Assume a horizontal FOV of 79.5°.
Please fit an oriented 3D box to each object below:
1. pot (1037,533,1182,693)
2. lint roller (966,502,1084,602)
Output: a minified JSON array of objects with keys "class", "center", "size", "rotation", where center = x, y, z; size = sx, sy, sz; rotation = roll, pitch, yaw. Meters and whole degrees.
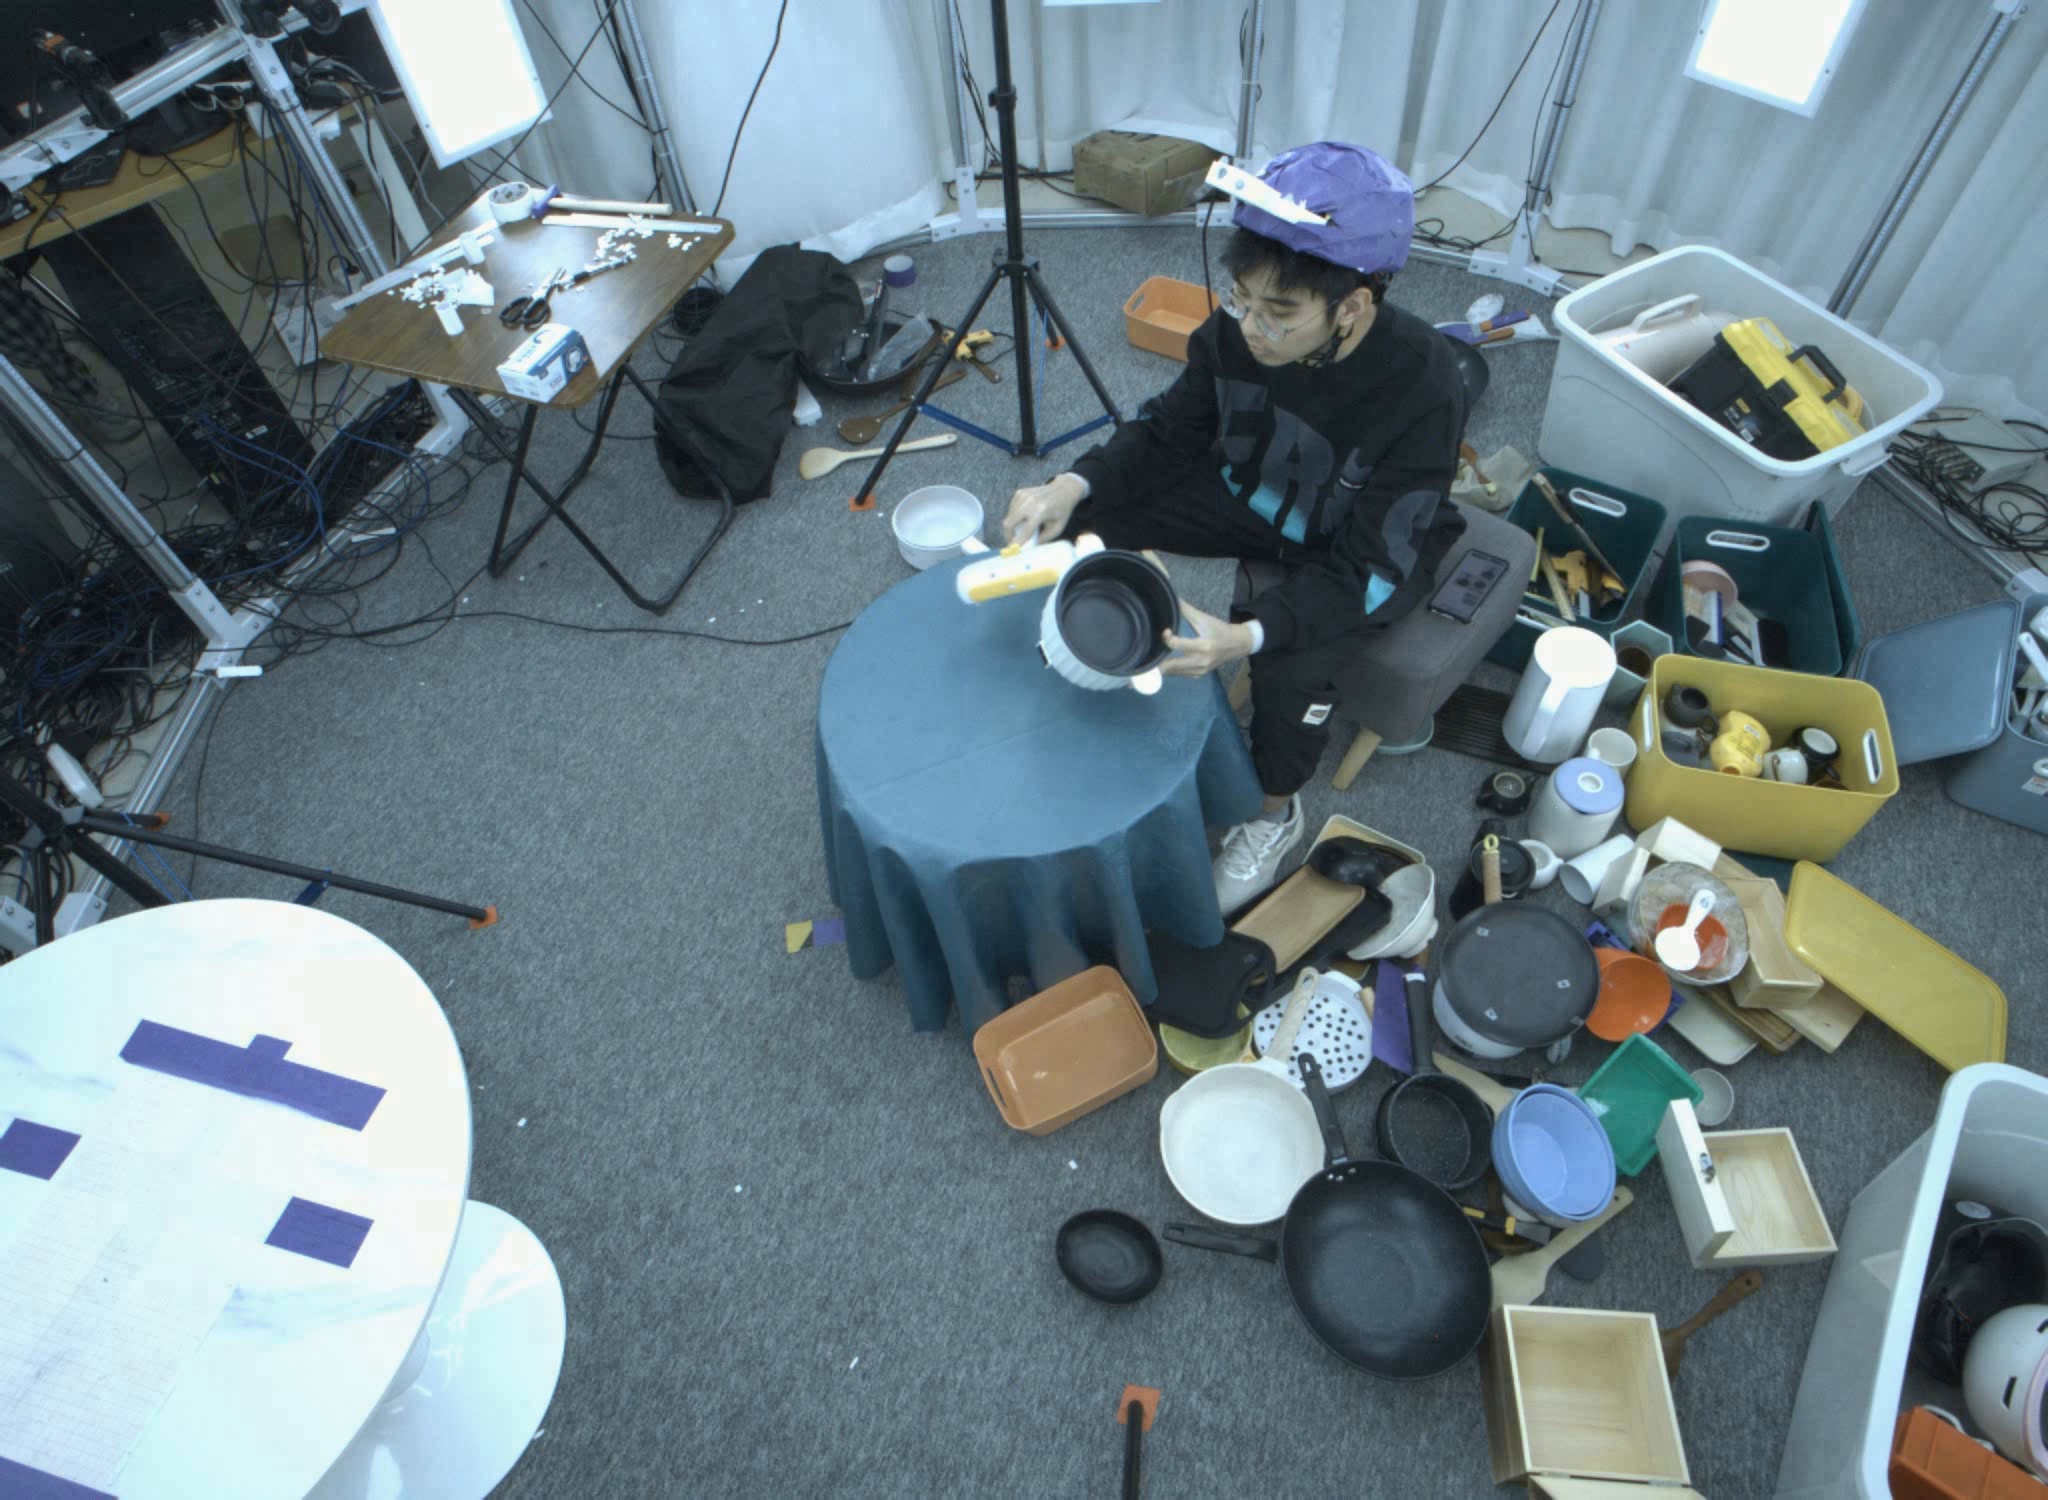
[{"class":"pot","center":[0.120,-0.182,1.740],"size":[0.192,0.141,0.240],"rotation":[-23,89,-14]},{"class":"lint roller","center":[0.007,-0.307,1.843],"size":[0.191,0.075,0.191],"rotation":[-20,32,20]}]
